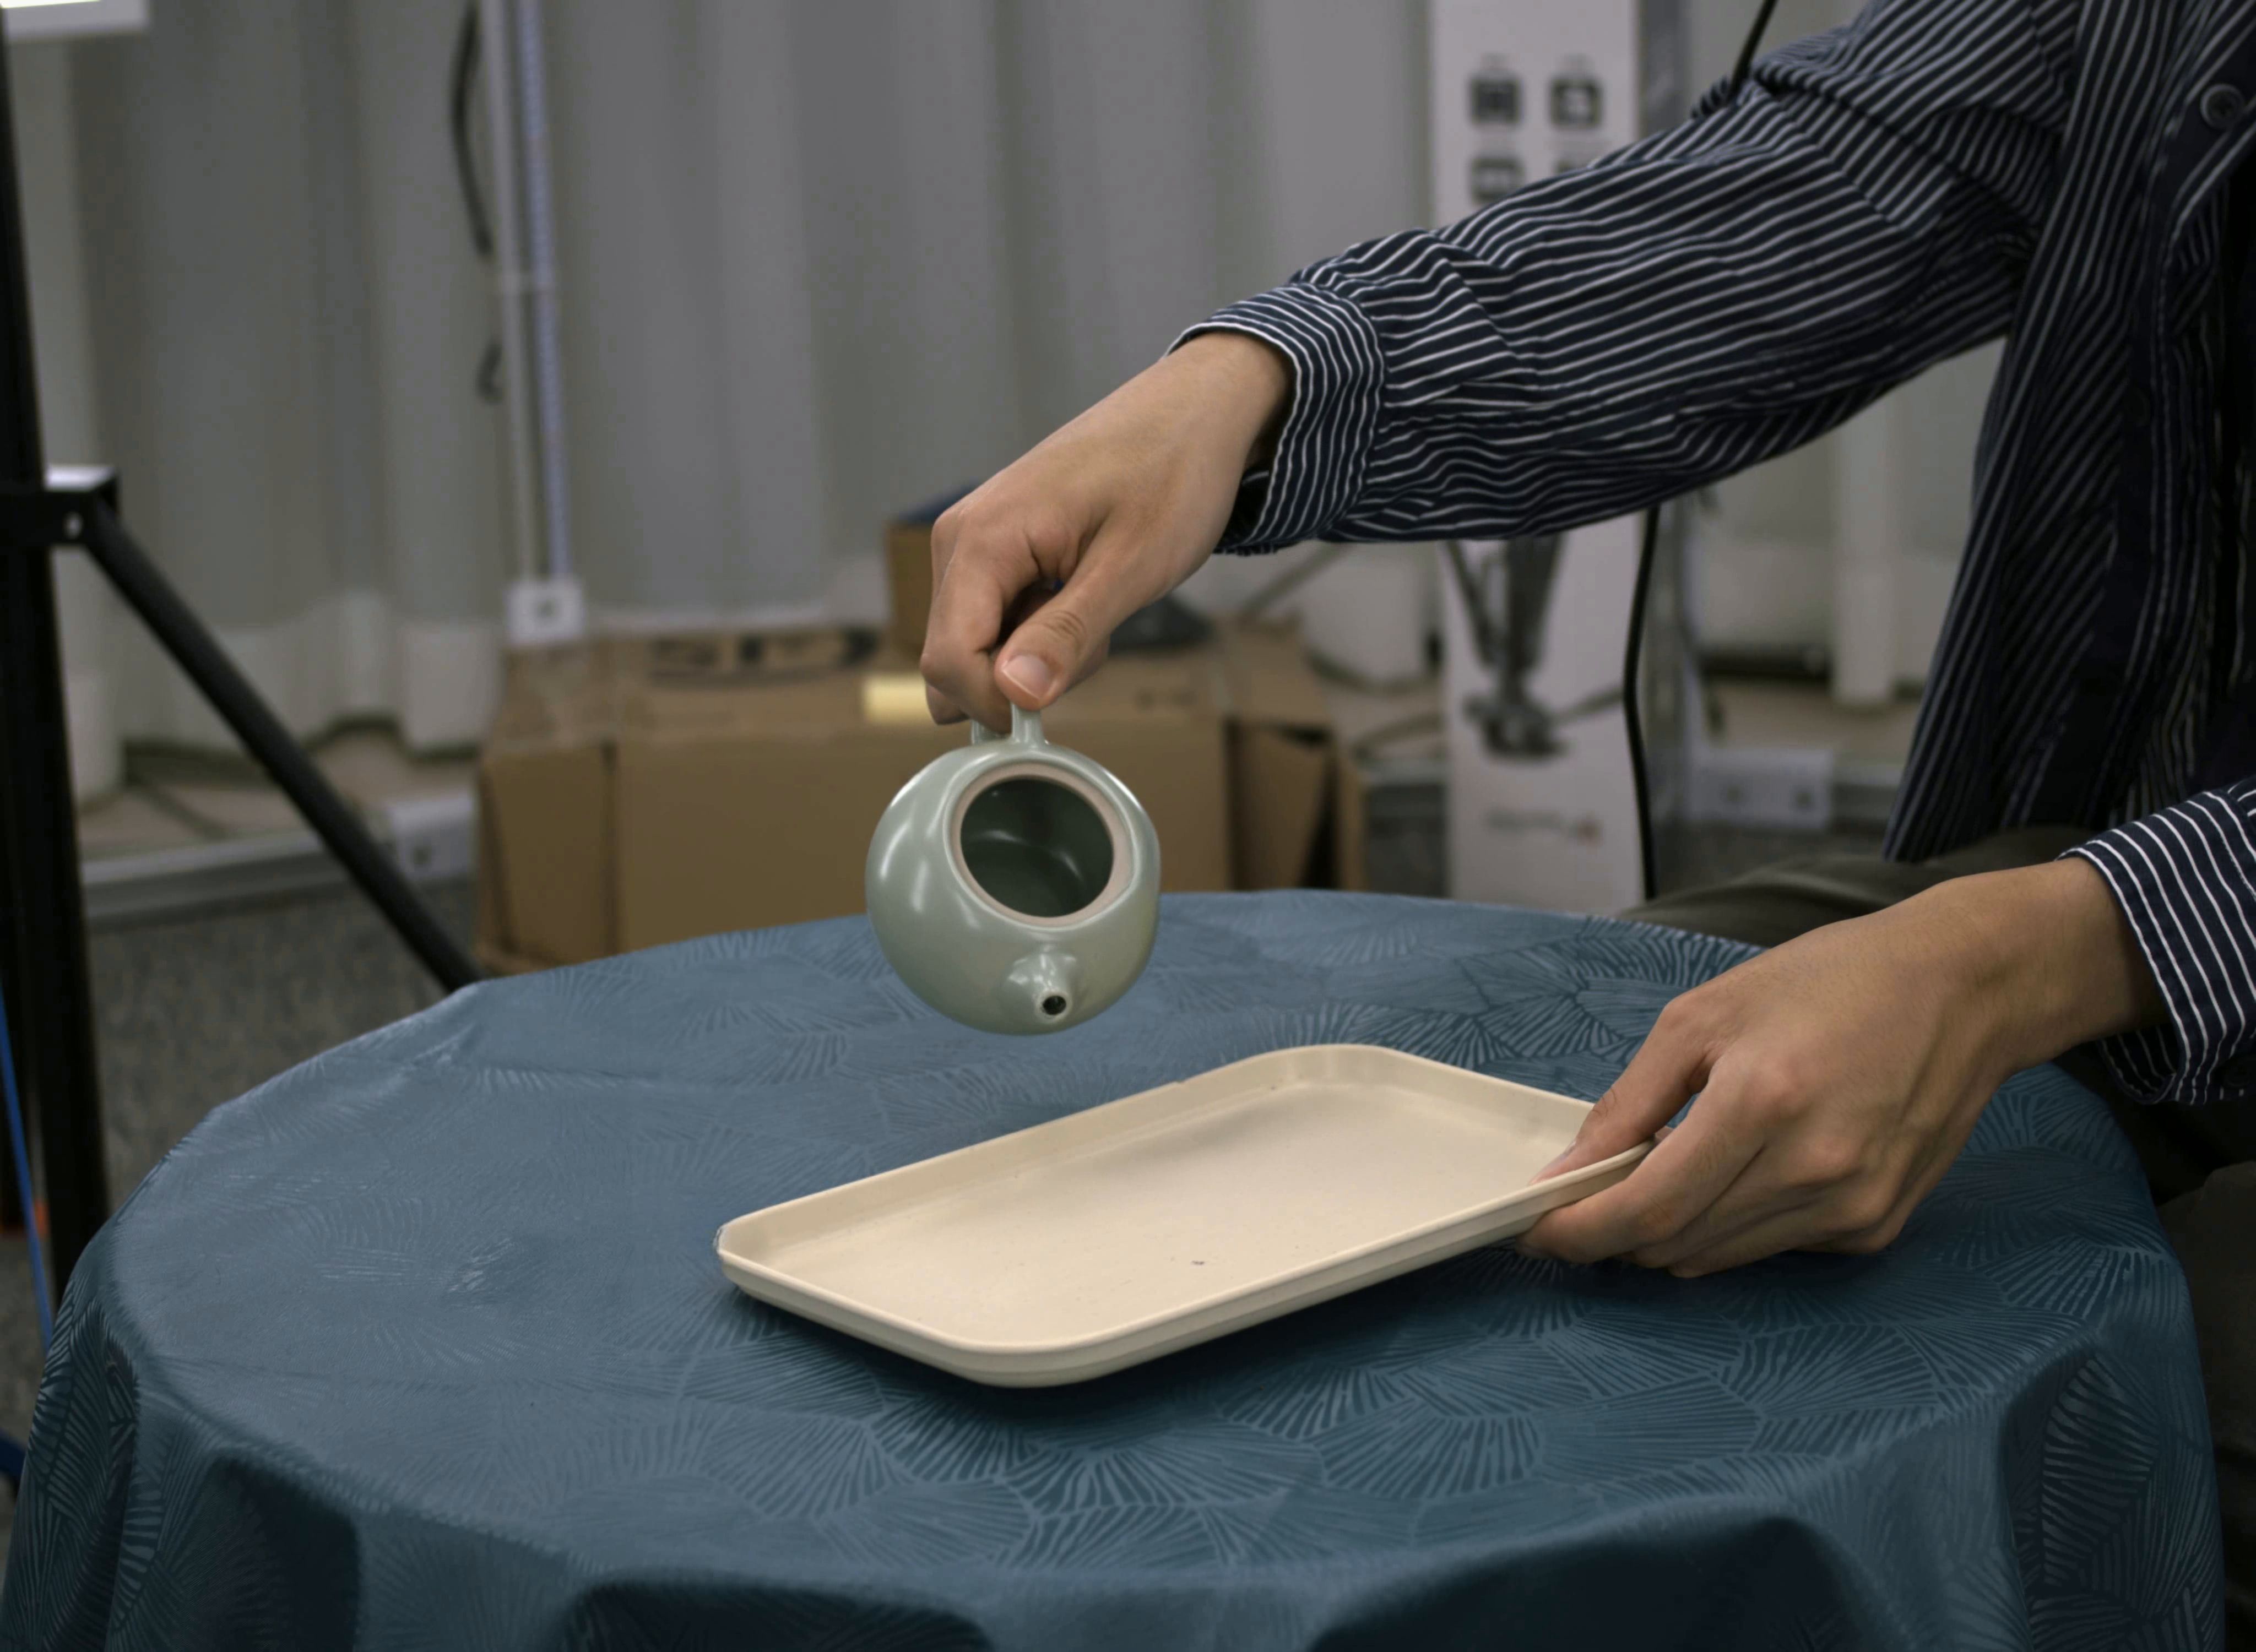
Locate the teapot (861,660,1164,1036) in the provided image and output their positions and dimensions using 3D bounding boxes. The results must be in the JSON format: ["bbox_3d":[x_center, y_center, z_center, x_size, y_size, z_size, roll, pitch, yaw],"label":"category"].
[{"bbox_3d":[-0.035,0.010,1.597,0.090,0.130,0.061,5,-28,-10],"label":"teapot"}]

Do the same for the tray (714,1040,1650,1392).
[{"bbox_3d":[0.017,0.109,1.500,0.234,0.017,0.175,-15,17,-33],"label":"tray"}]
